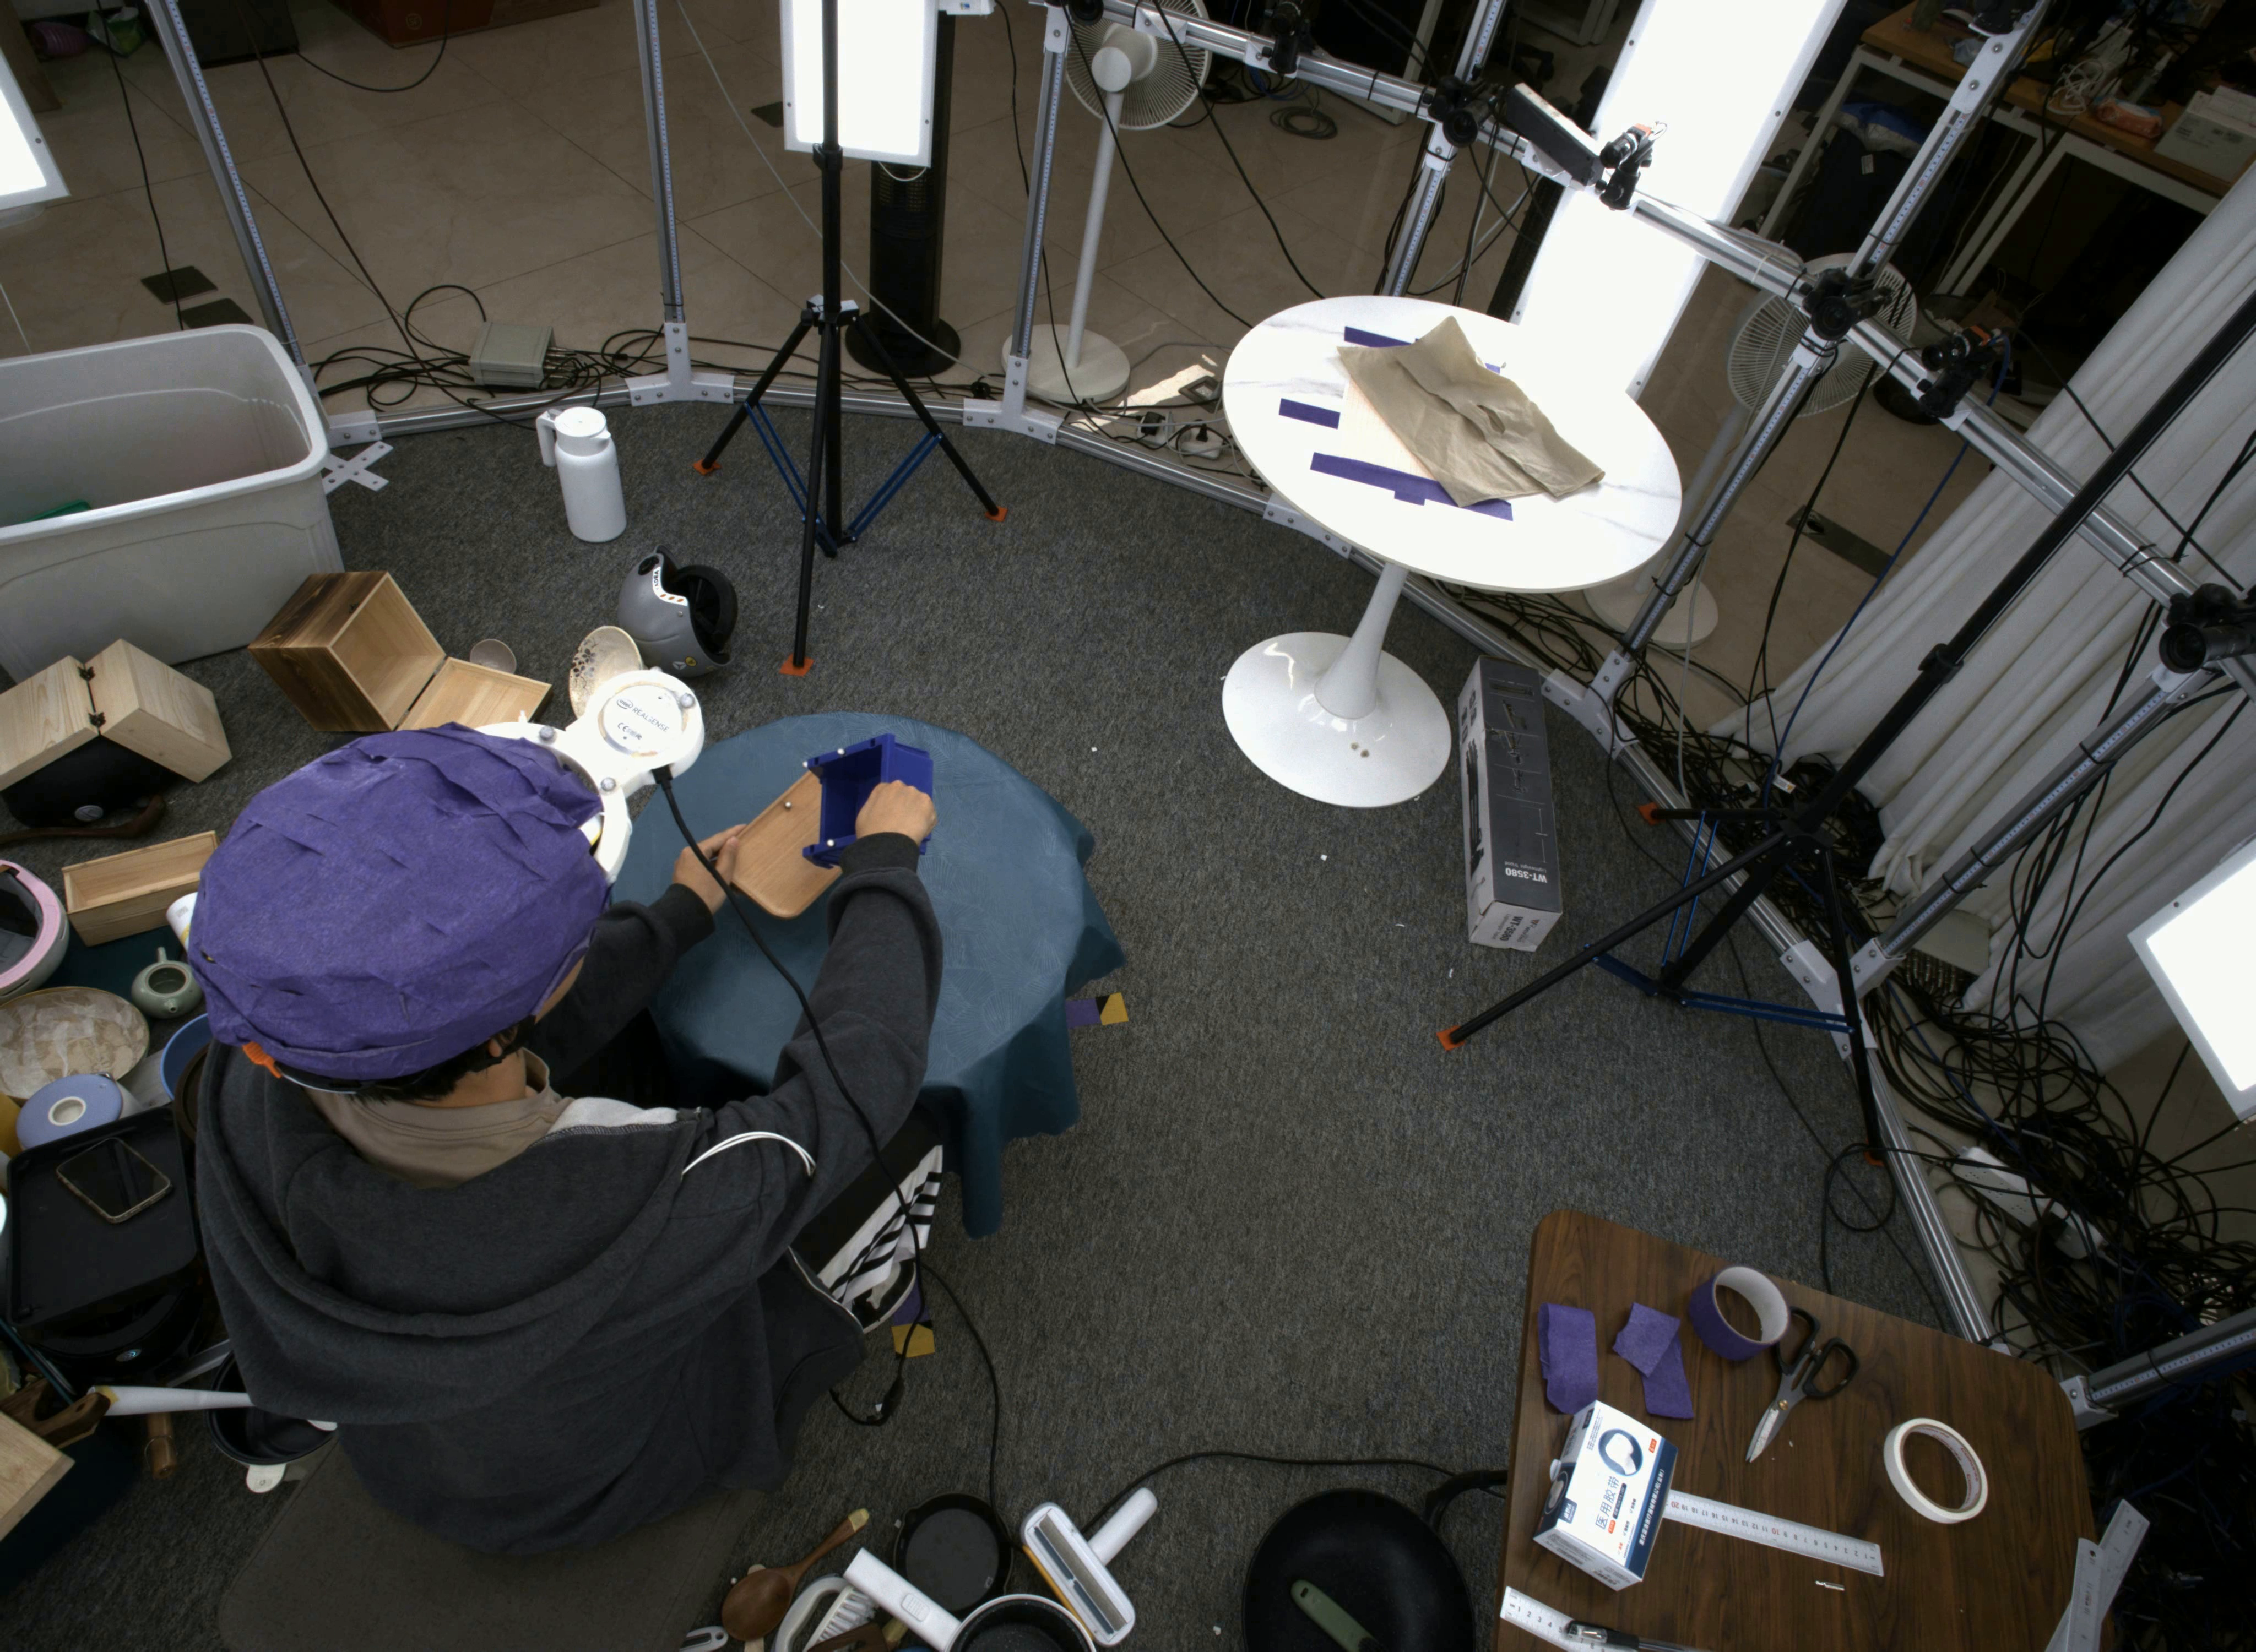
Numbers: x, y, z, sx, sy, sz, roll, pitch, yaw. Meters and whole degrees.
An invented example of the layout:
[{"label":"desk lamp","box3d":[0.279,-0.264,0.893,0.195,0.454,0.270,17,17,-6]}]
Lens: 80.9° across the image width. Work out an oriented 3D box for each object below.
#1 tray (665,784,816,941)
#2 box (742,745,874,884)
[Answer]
[{"label":"tray","box3d":[-0.457,0.030,1.614,0.130,0.023,0.249,35,52,1]},{"label":"box","box3d":[-0.375,-0.008,1.494,0.084,0.174,0.124,14,69,-54]}]
